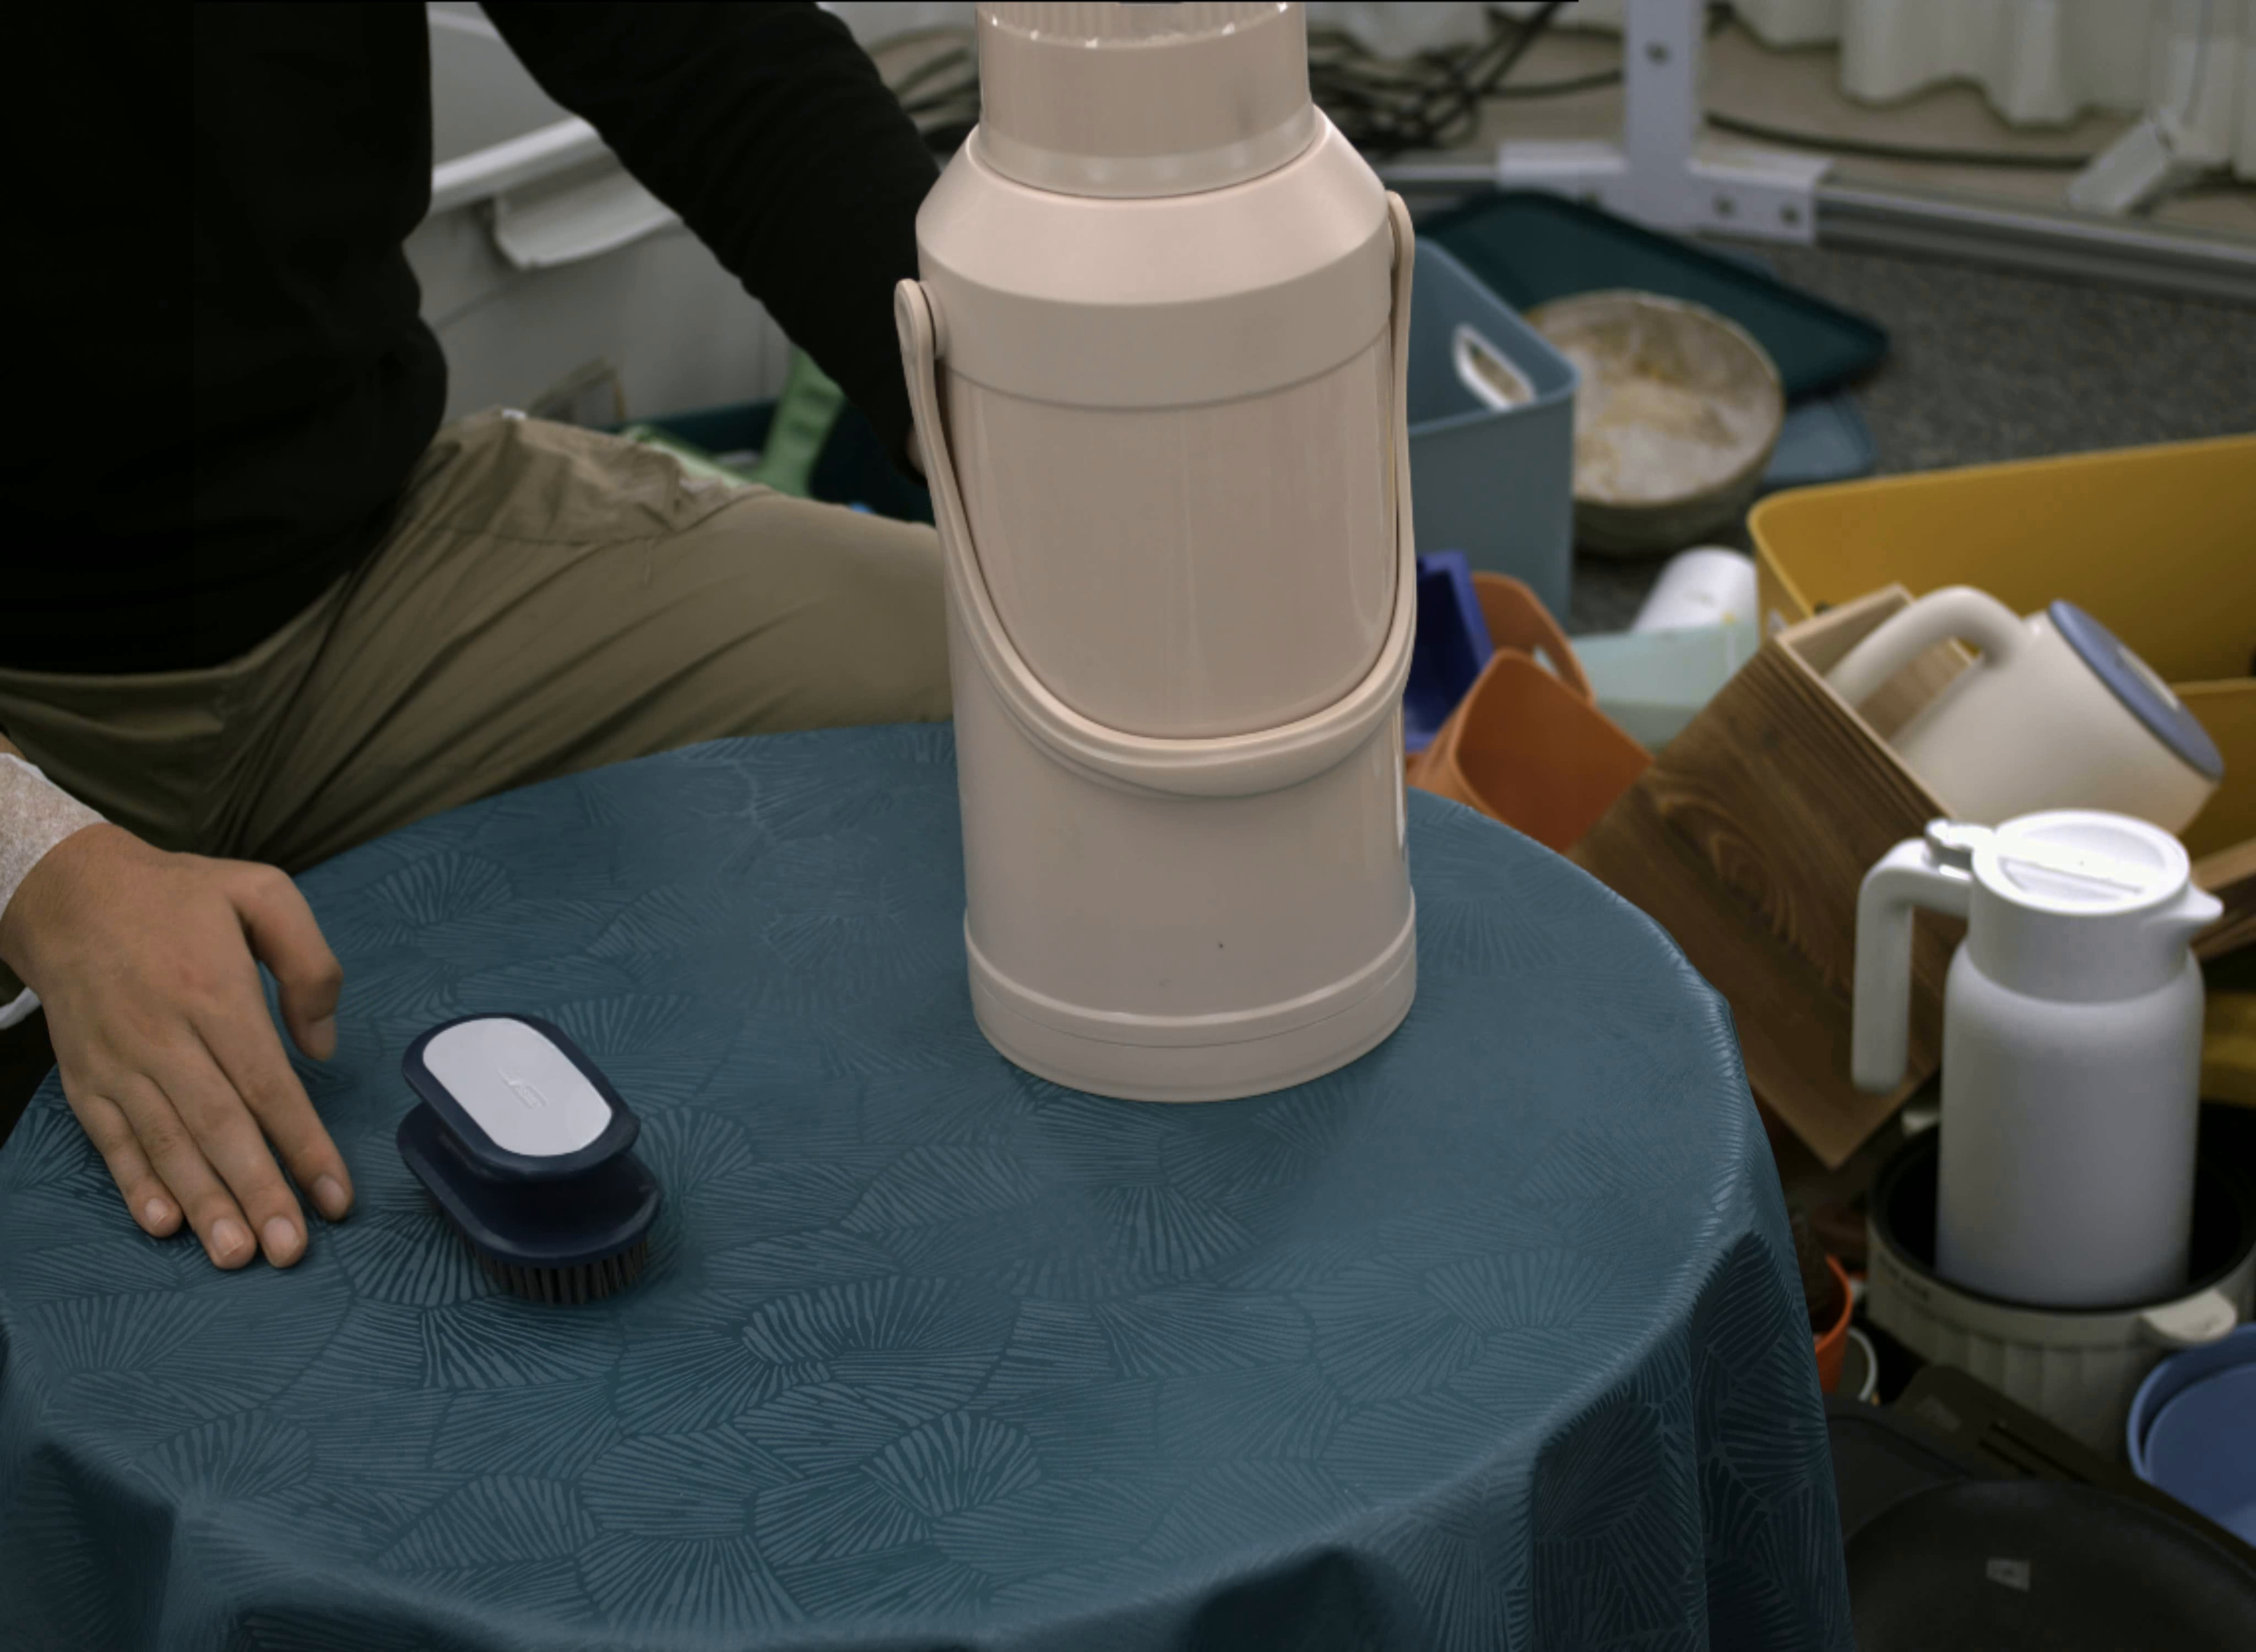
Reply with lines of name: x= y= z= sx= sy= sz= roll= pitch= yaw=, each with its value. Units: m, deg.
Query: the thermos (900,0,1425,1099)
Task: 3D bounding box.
thermos: x=0.011 y=-0.124 z=1.909 sx=0.176 sy=0.402 sz=0.209 roll=-13 pitch=28 yaw=-16

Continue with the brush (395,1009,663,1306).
brush: x=-0.197 y=0.111 z=1.845 sx=0.068 sy=0.060 sz=0.122 roll=-15 pitch=30 yaw=-23
